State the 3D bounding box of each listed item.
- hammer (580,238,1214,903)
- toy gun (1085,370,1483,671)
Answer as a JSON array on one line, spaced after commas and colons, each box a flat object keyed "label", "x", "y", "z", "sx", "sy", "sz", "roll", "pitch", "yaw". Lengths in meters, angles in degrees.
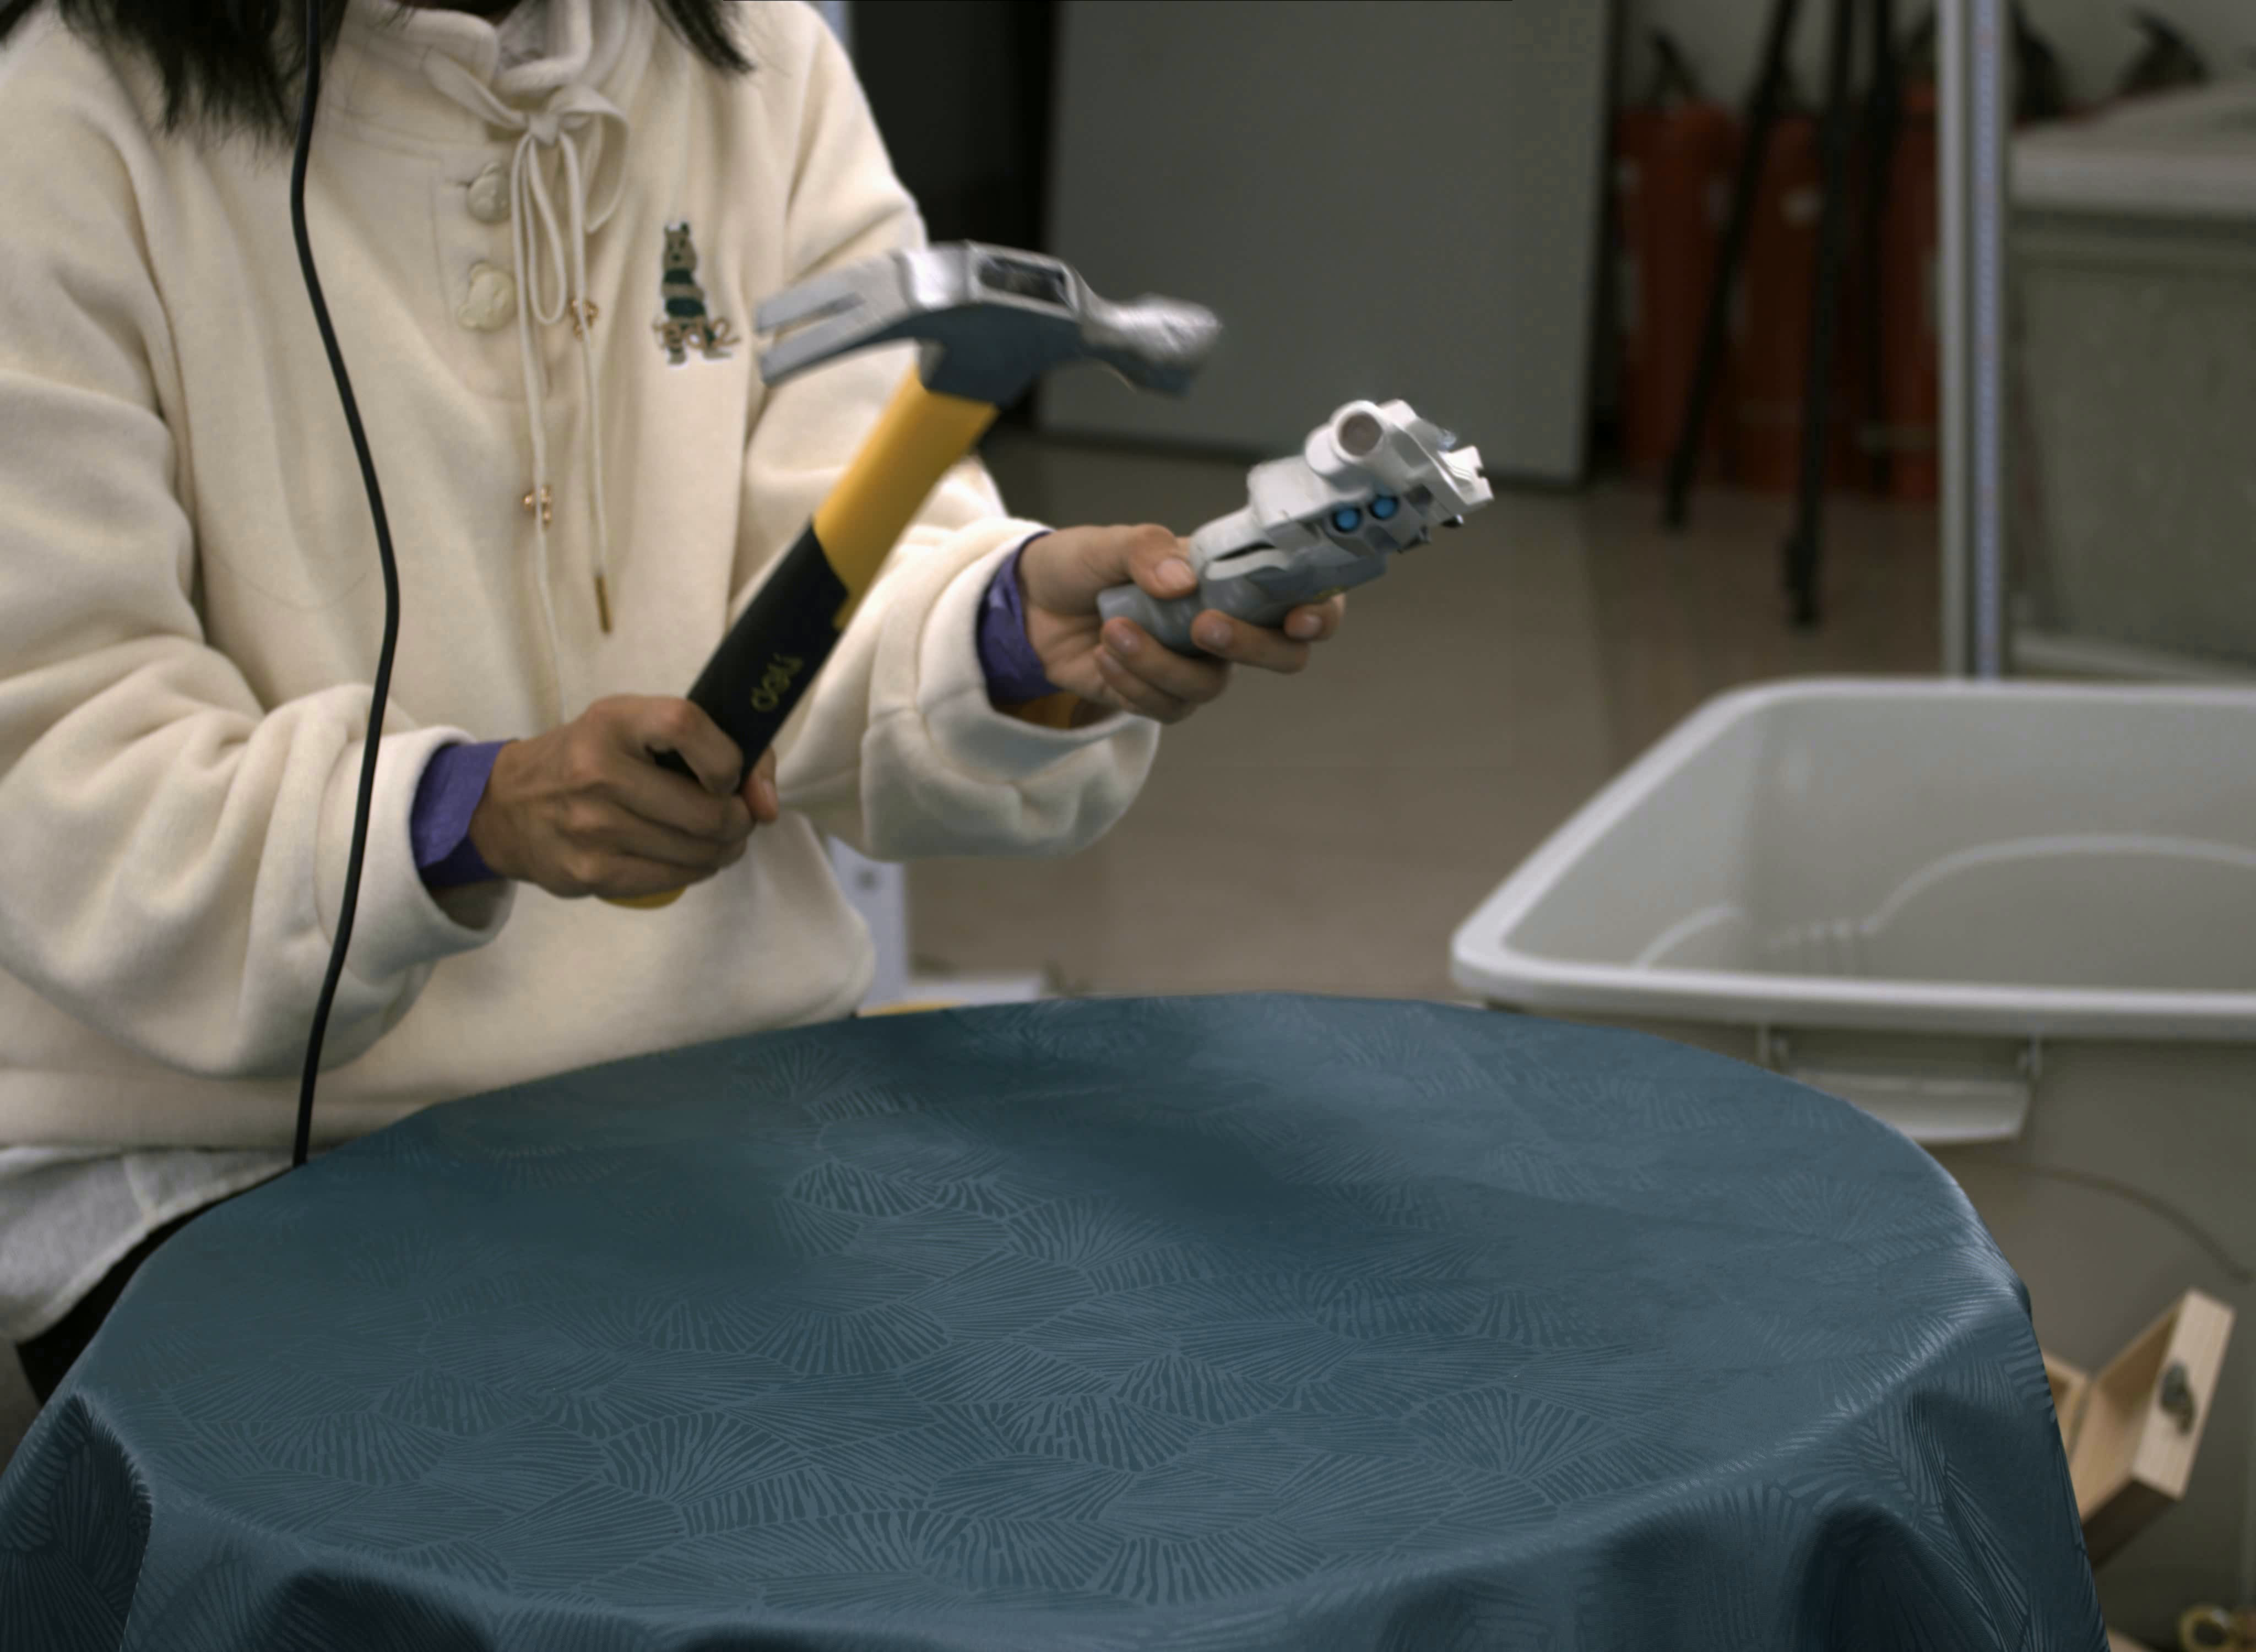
[{"label": "hammer", "x": -0.103, "y": -0.077, "z": 1.777, "sx": 0.128, "sy": 0.032, "sz": 0.342, "roll": 10, "pitch": -38, "yaw": -25}, {"label": "toy gun", "x": 0.044, "y": -0.101, "z": 1.744, "sx": 0.141, "sy": 0.039, "sz": 0.208, "roll": -17, "pitch": -11, "yaw": 8}]
